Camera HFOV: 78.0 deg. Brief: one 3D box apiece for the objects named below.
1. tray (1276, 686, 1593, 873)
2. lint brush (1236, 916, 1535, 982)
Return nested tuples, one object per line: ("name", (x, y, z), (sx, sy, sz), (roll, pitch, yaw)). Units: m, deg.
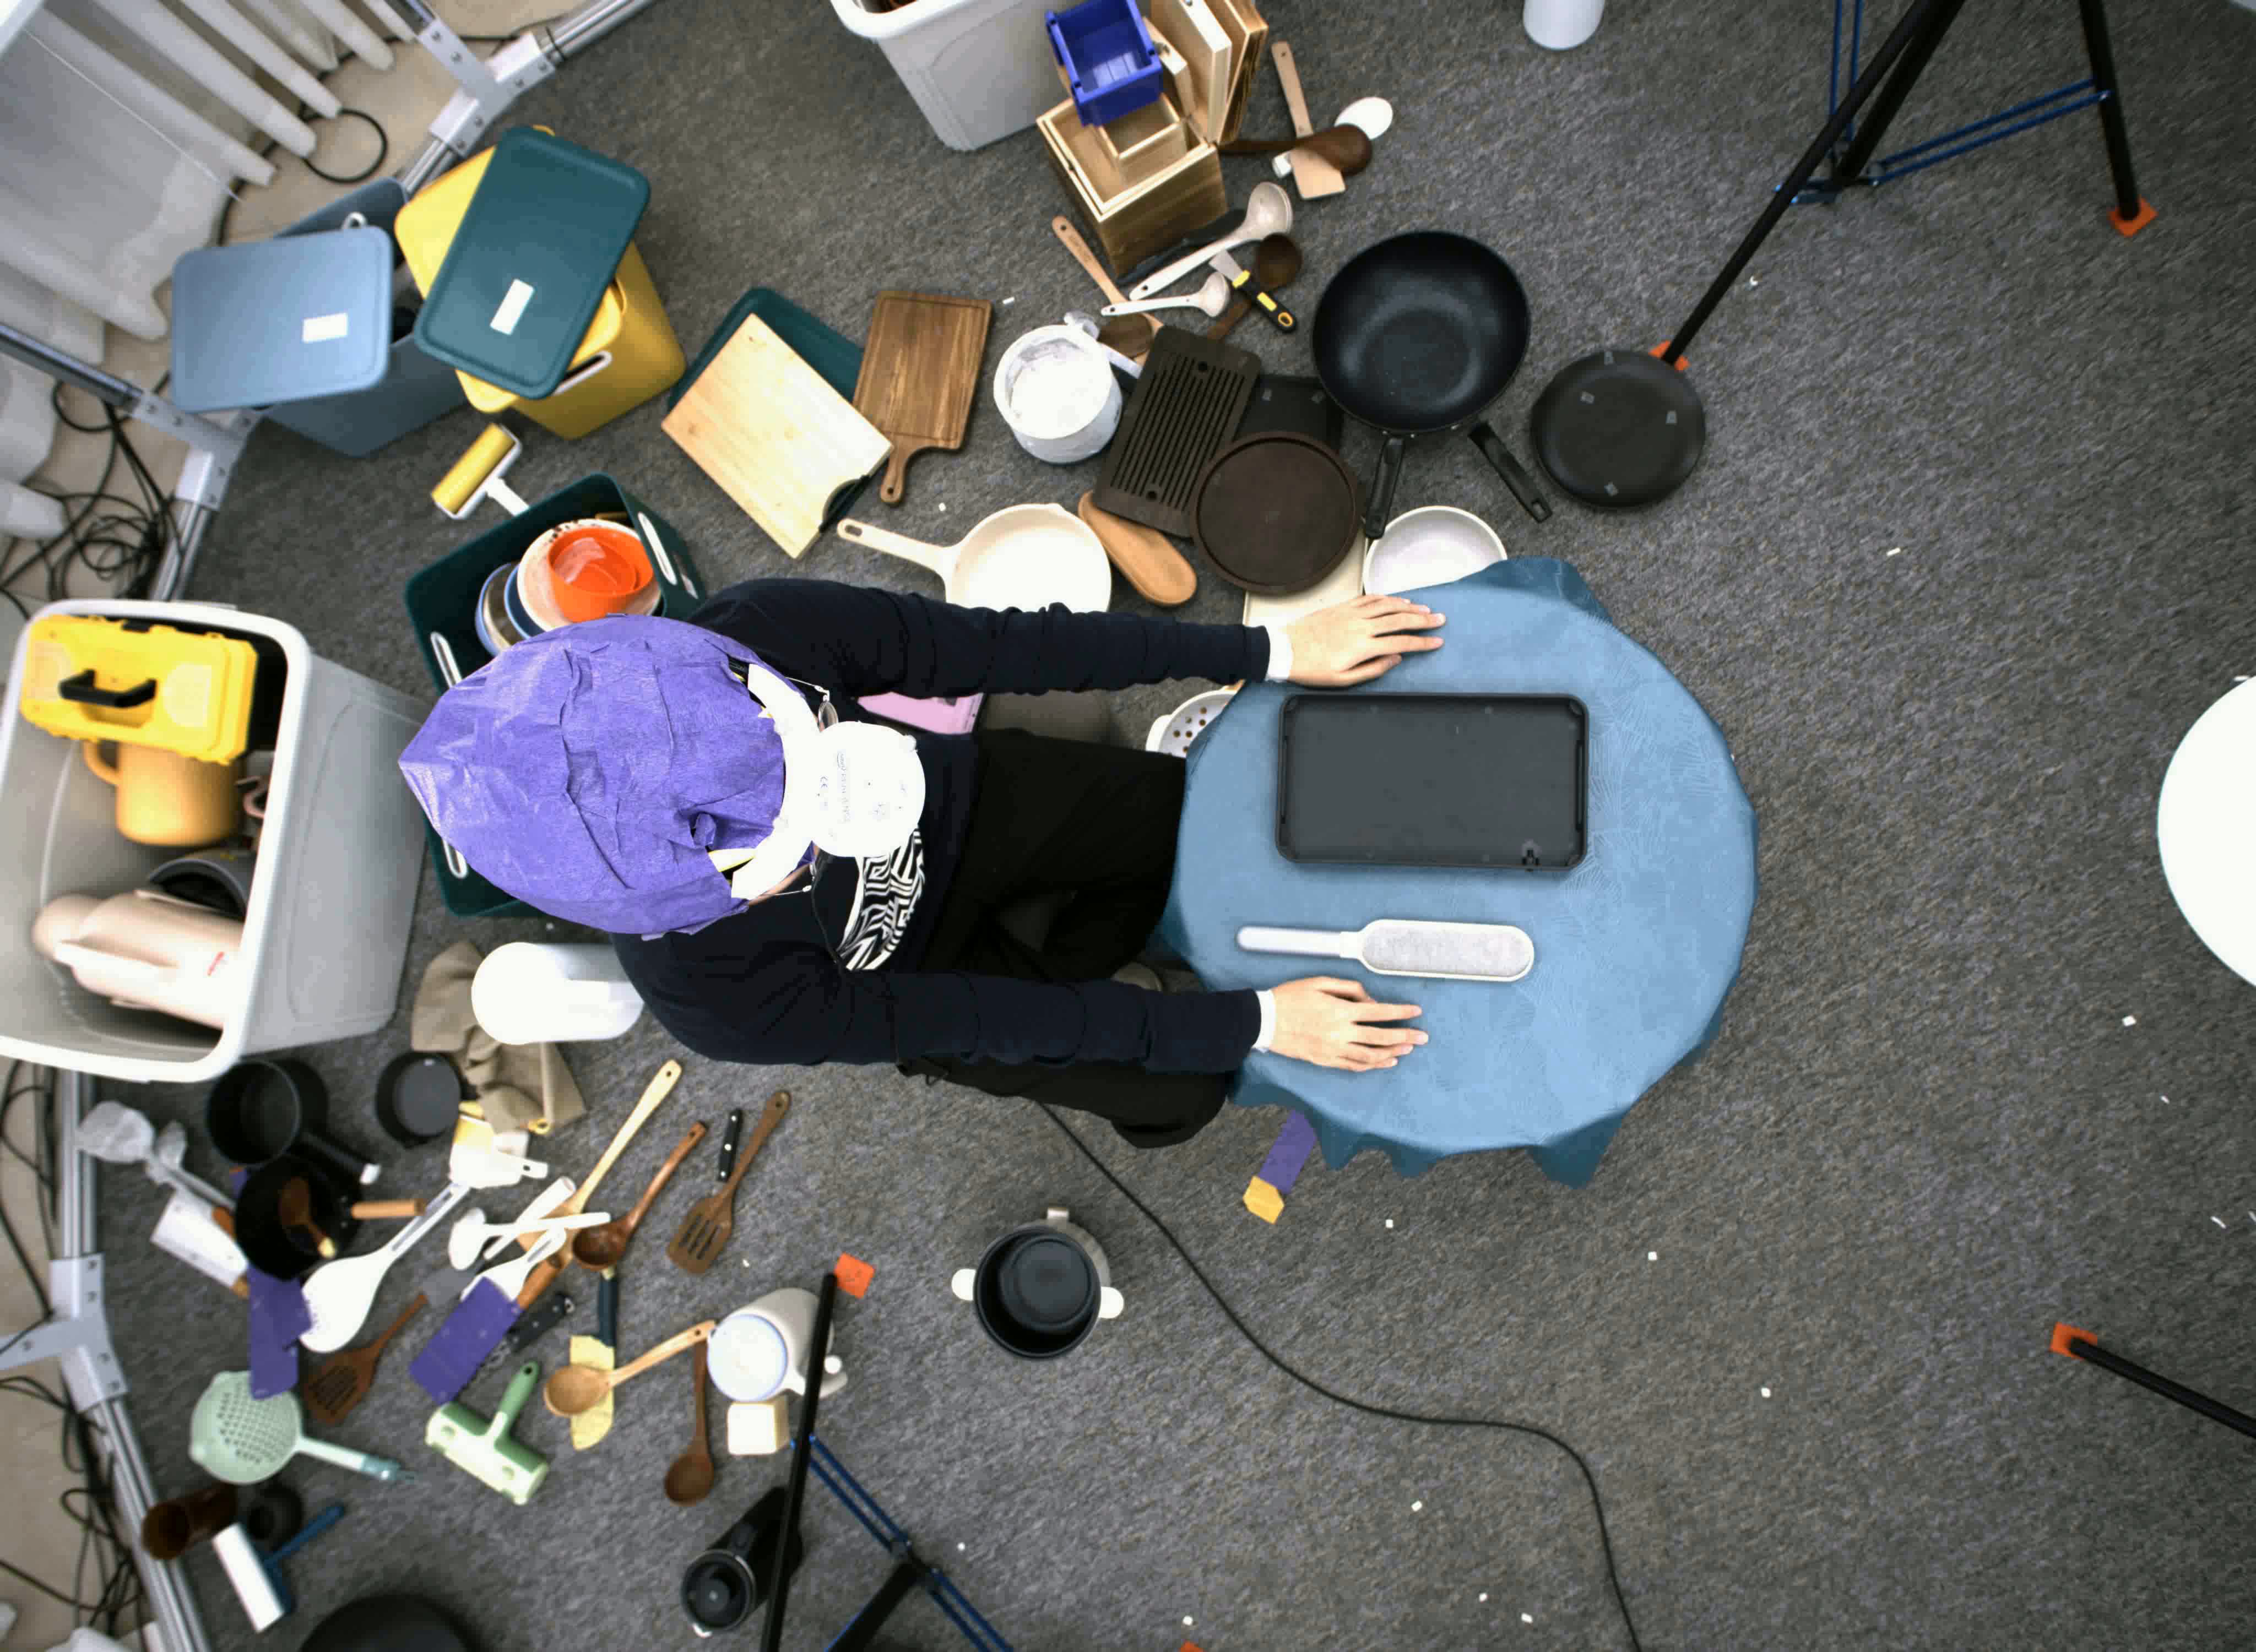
("tray", (0.318, -0.050, 1.440), (0.319, 0.037, 0.183), (3, 87, 11))
("lint brush", (0.267, 0.123, 1.444), (0.310, 0.021, 0.060), (3, 92, 11))
